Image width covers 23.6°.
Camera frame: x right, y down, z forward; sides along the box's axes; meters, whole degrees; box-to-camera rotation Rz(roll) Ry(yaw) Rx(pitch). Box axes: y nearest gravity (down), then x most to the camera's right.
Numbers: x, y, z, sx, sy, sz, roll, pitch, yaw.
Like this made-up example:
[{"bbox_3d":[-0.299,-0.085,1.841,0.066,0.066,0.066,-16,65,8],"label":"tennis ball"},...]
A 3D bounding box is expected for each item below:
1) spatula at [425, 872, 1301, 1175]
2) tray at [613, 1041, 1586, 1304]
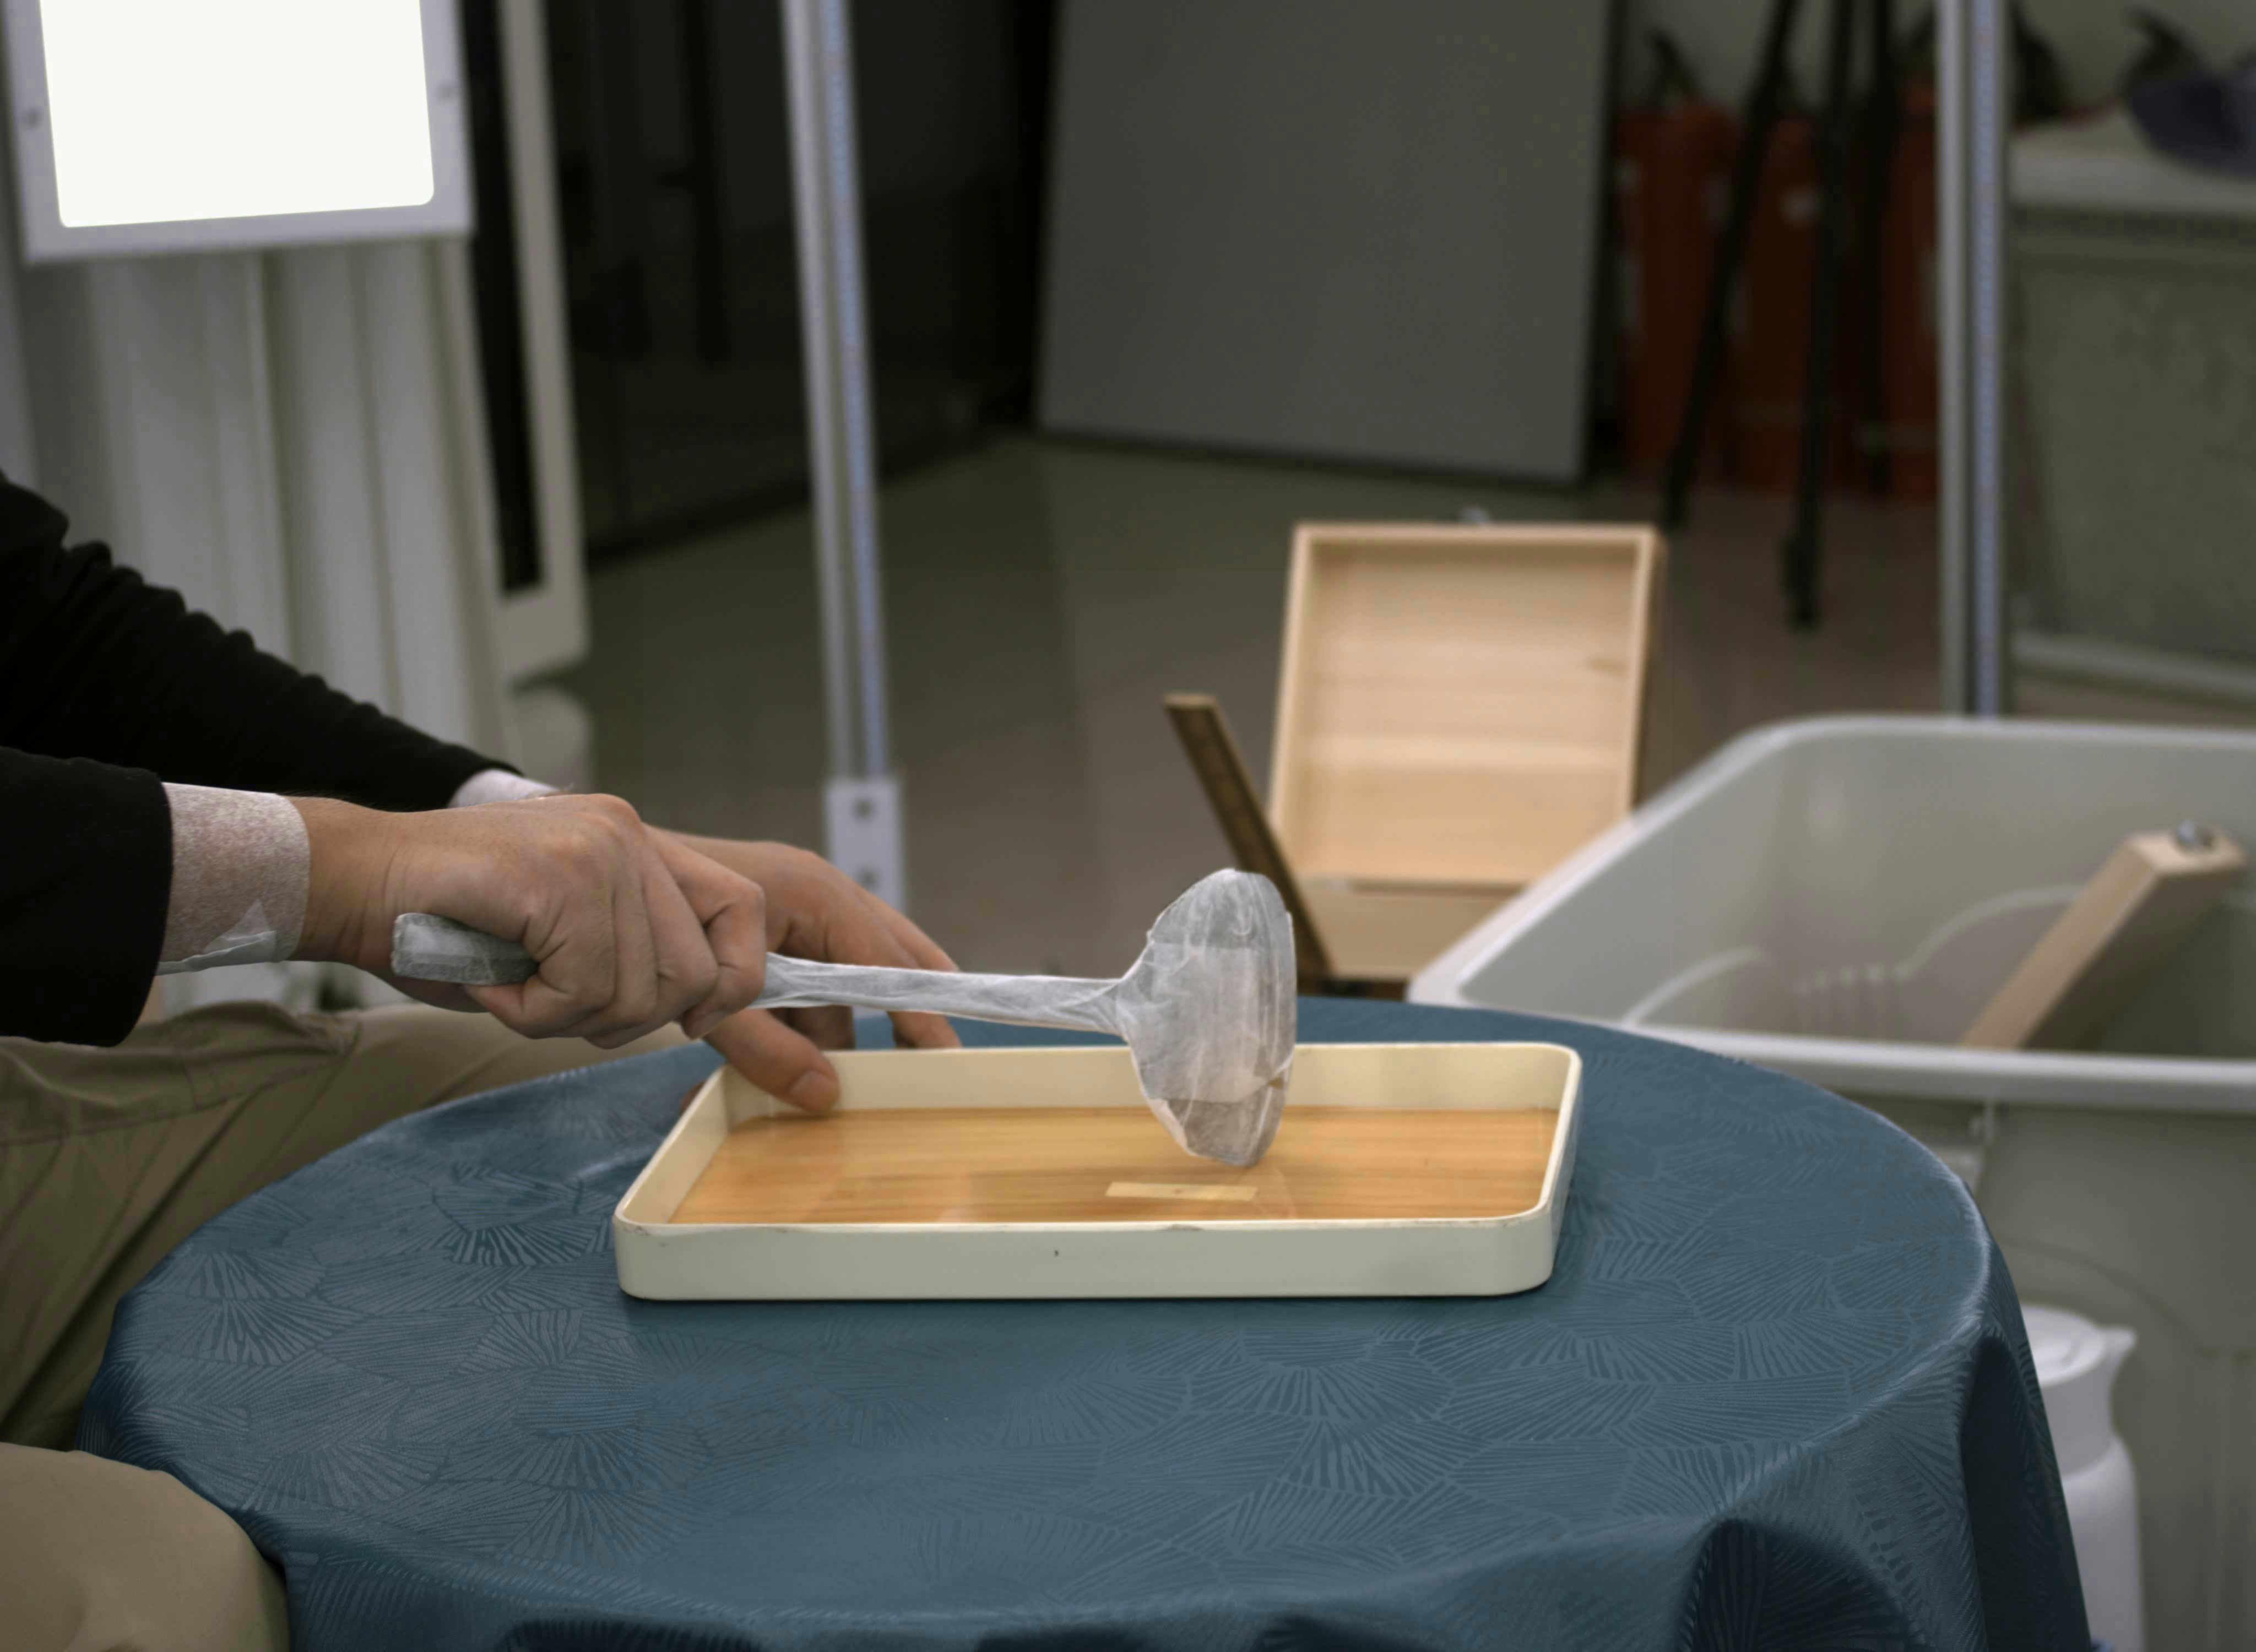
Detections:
[{"bbox_3d":[-0.072,0.050,1.665,0.356,0.100,0.045,7,-7,-37],"label":"spatula"},{"bbox_3d":[-0.004,0.112,1.752,0.298,0.028,0.191,-2,14,11],"label":"tray"}]
